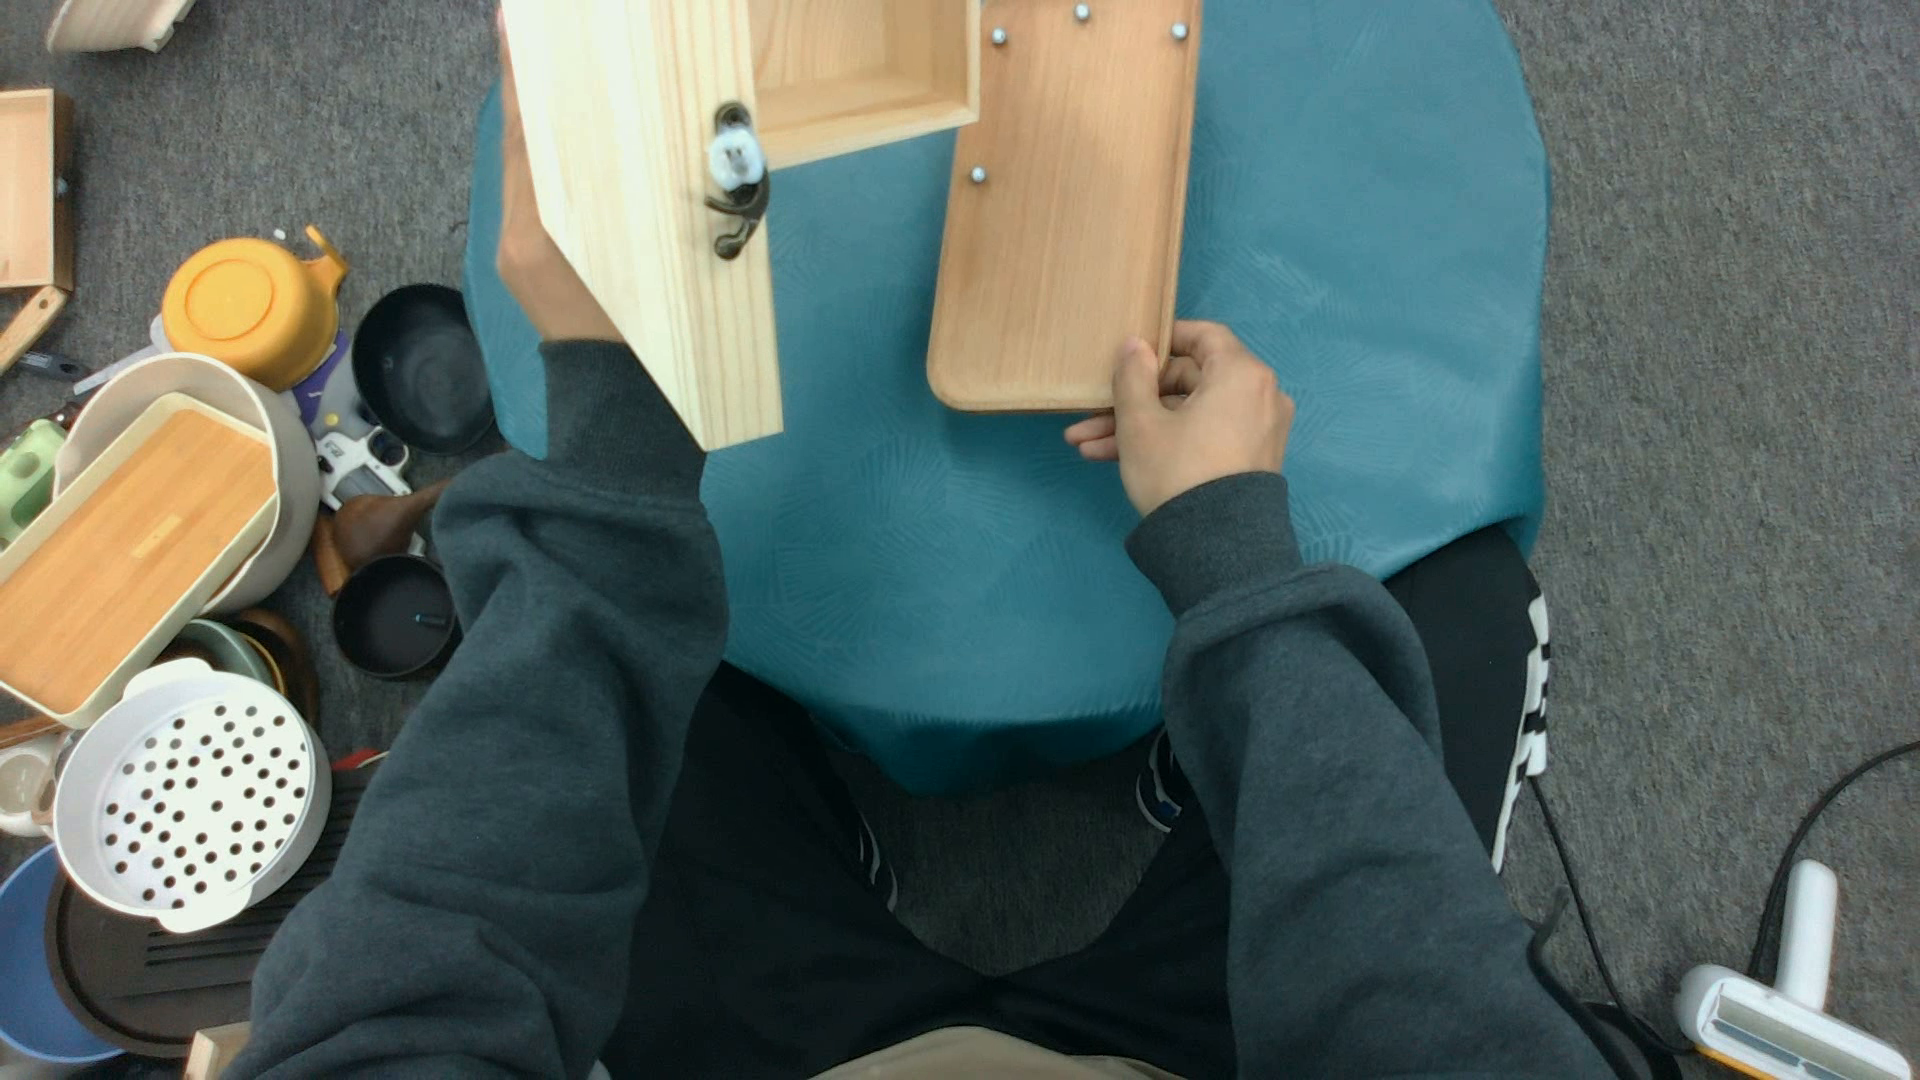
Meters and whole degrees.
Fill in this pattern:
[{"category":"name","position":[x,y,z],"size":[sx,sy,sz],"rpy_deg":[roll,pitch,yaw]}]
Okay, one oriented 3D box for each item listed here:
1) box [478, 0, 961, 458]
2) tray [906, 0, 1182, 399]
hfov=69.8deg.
[{"category":"box","position":[-0.073,-0.202,0.492],"size":[0.266,0.181,0.253],"rpy_deg":[-23,46,-27]},{"category":"tray","position":[0.045,-0.189,0.706],"size":[0.130,0.023,0.251],"rpy_deg":[0,74,25]}]
